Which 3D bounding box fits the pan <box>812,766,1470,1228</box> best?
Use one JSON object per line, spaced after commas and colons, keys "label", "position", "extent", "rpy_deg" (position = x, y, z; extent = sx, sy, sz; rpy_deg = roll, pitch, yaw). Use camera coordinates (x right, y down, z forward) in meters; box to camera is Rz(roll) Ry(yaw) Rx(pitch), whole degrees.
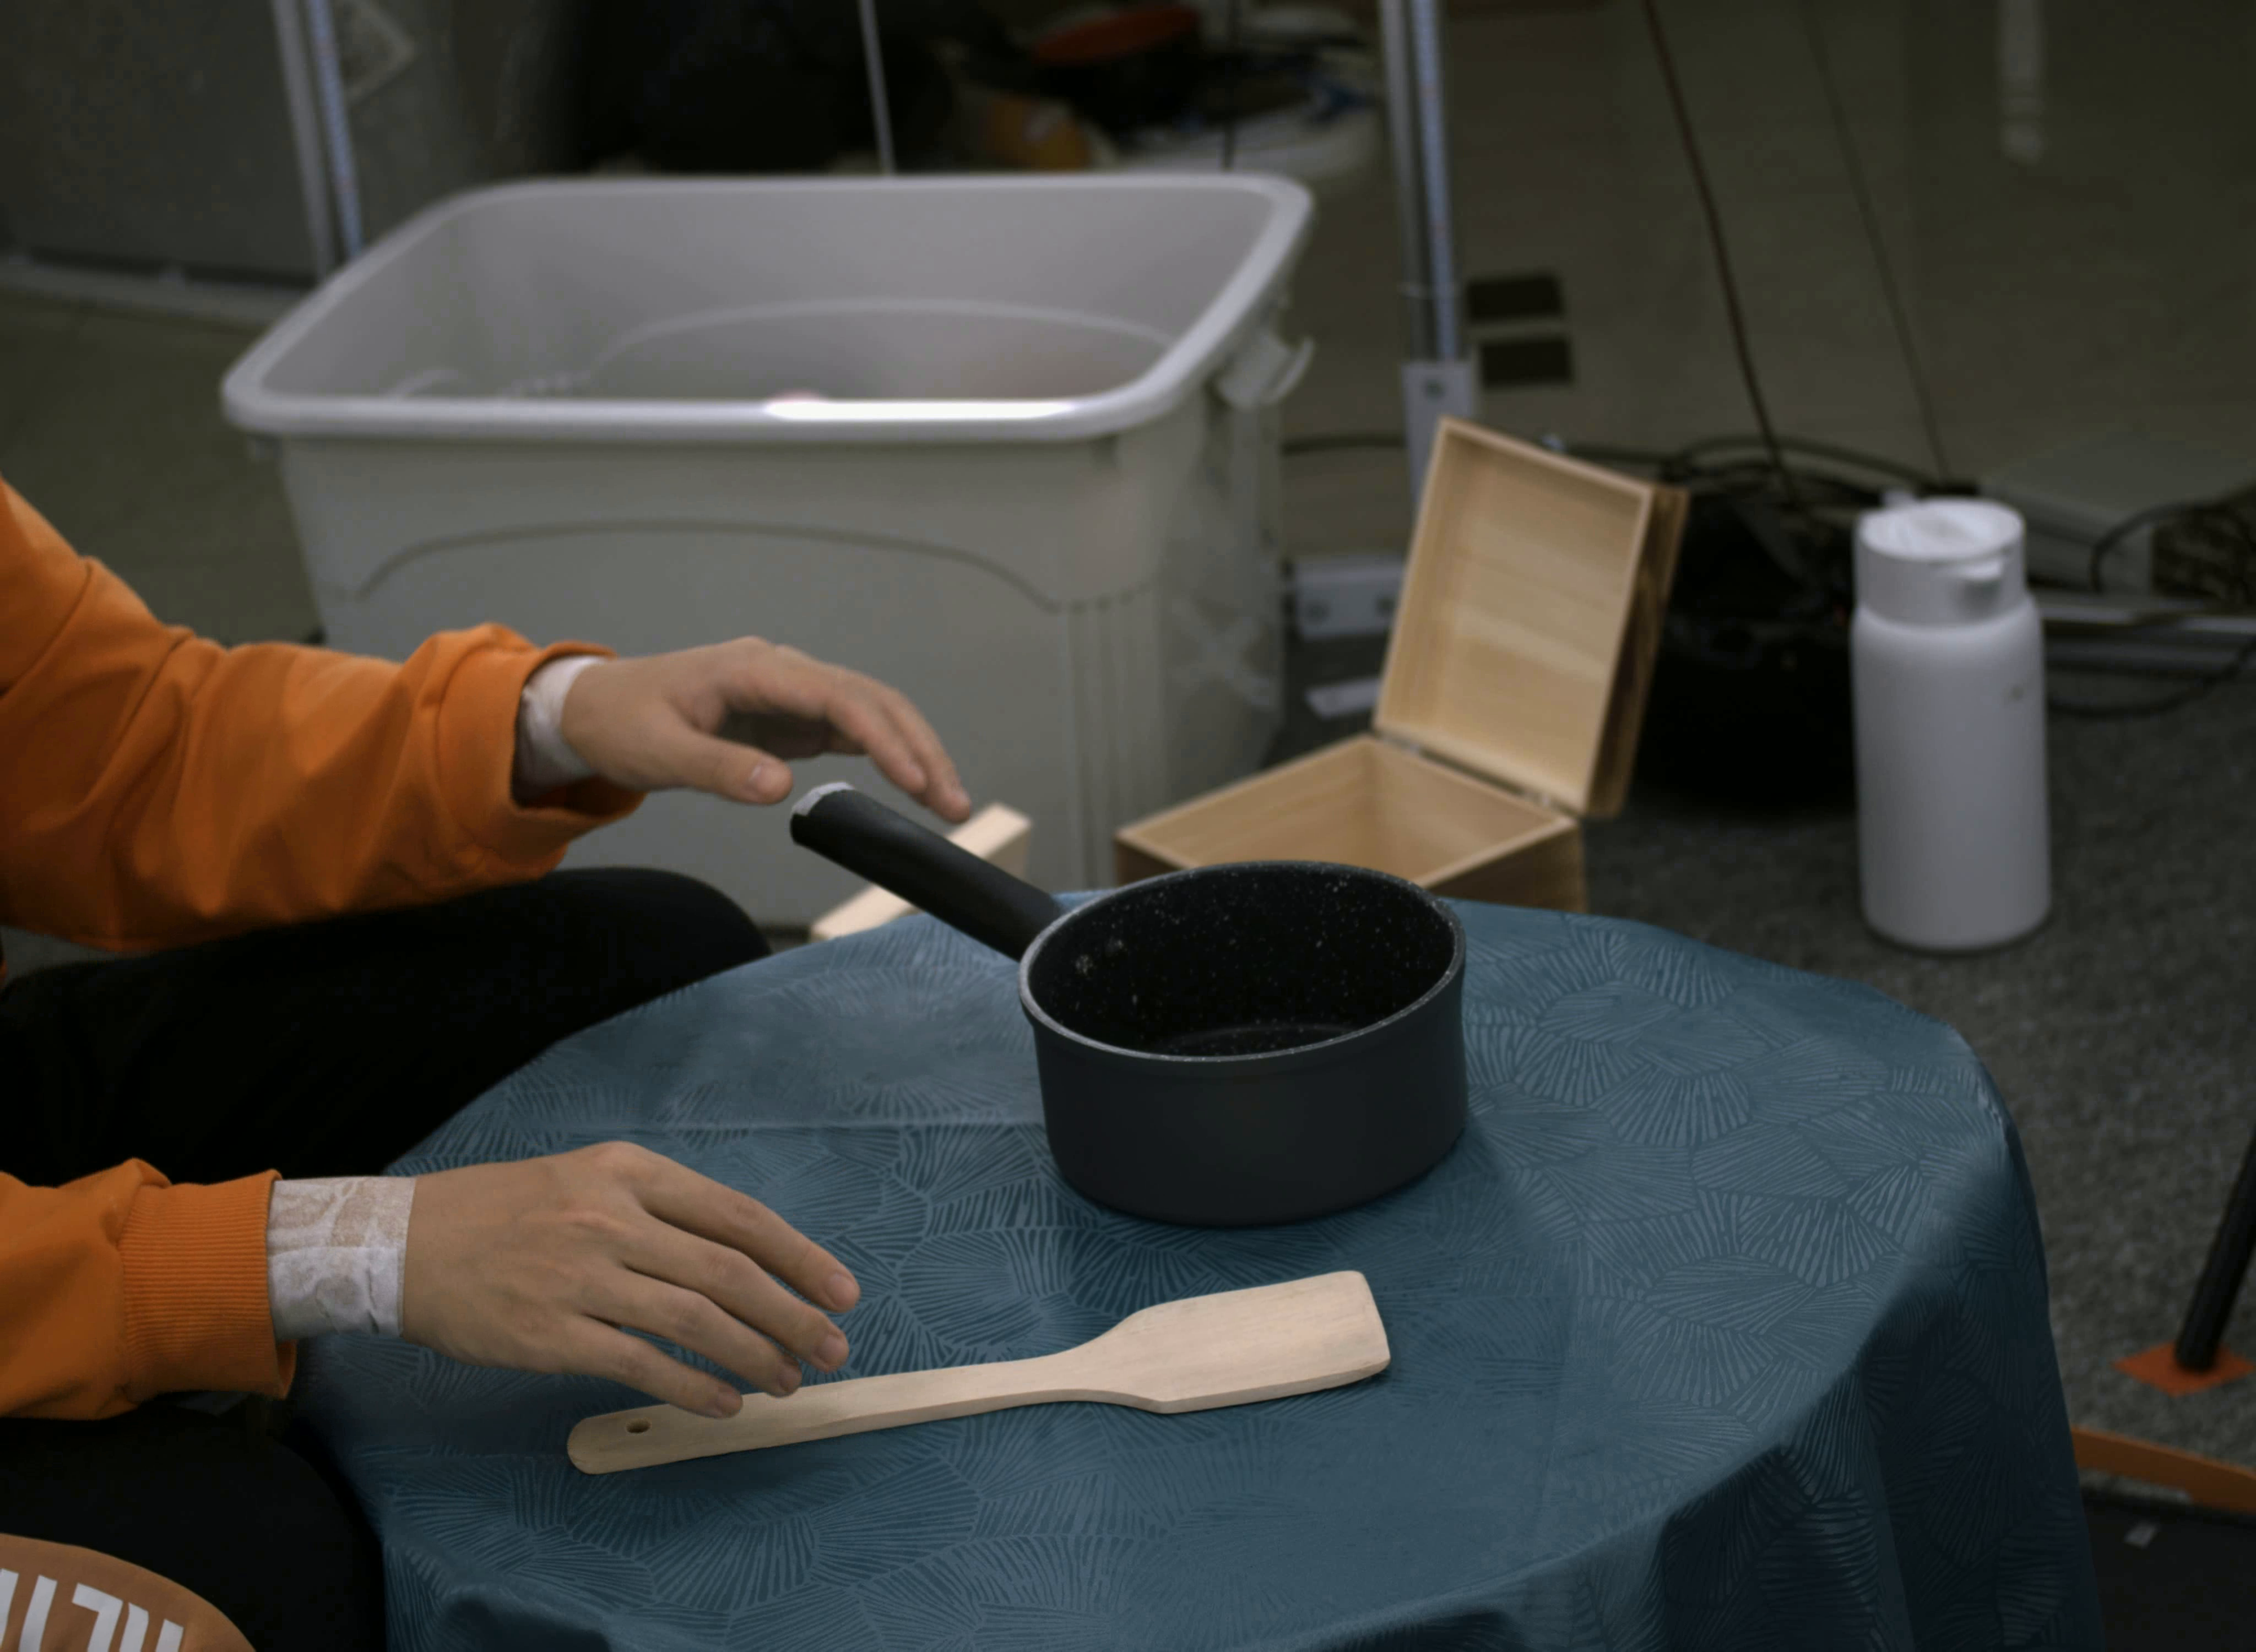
{"label": "pan", "position": [-0.008, 0.060, 2.216], "extent": [0.170, 0.088, 0.326], "rpy_deg": [-25, 33, -36]}

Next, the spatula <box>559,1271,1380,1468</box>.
{"label": "spatula", "position": [-0.057, 0.200, 2.020], "extent": [0.292, 0.011, 0.071], "rpy_deg": [-8, 29, -4]}
